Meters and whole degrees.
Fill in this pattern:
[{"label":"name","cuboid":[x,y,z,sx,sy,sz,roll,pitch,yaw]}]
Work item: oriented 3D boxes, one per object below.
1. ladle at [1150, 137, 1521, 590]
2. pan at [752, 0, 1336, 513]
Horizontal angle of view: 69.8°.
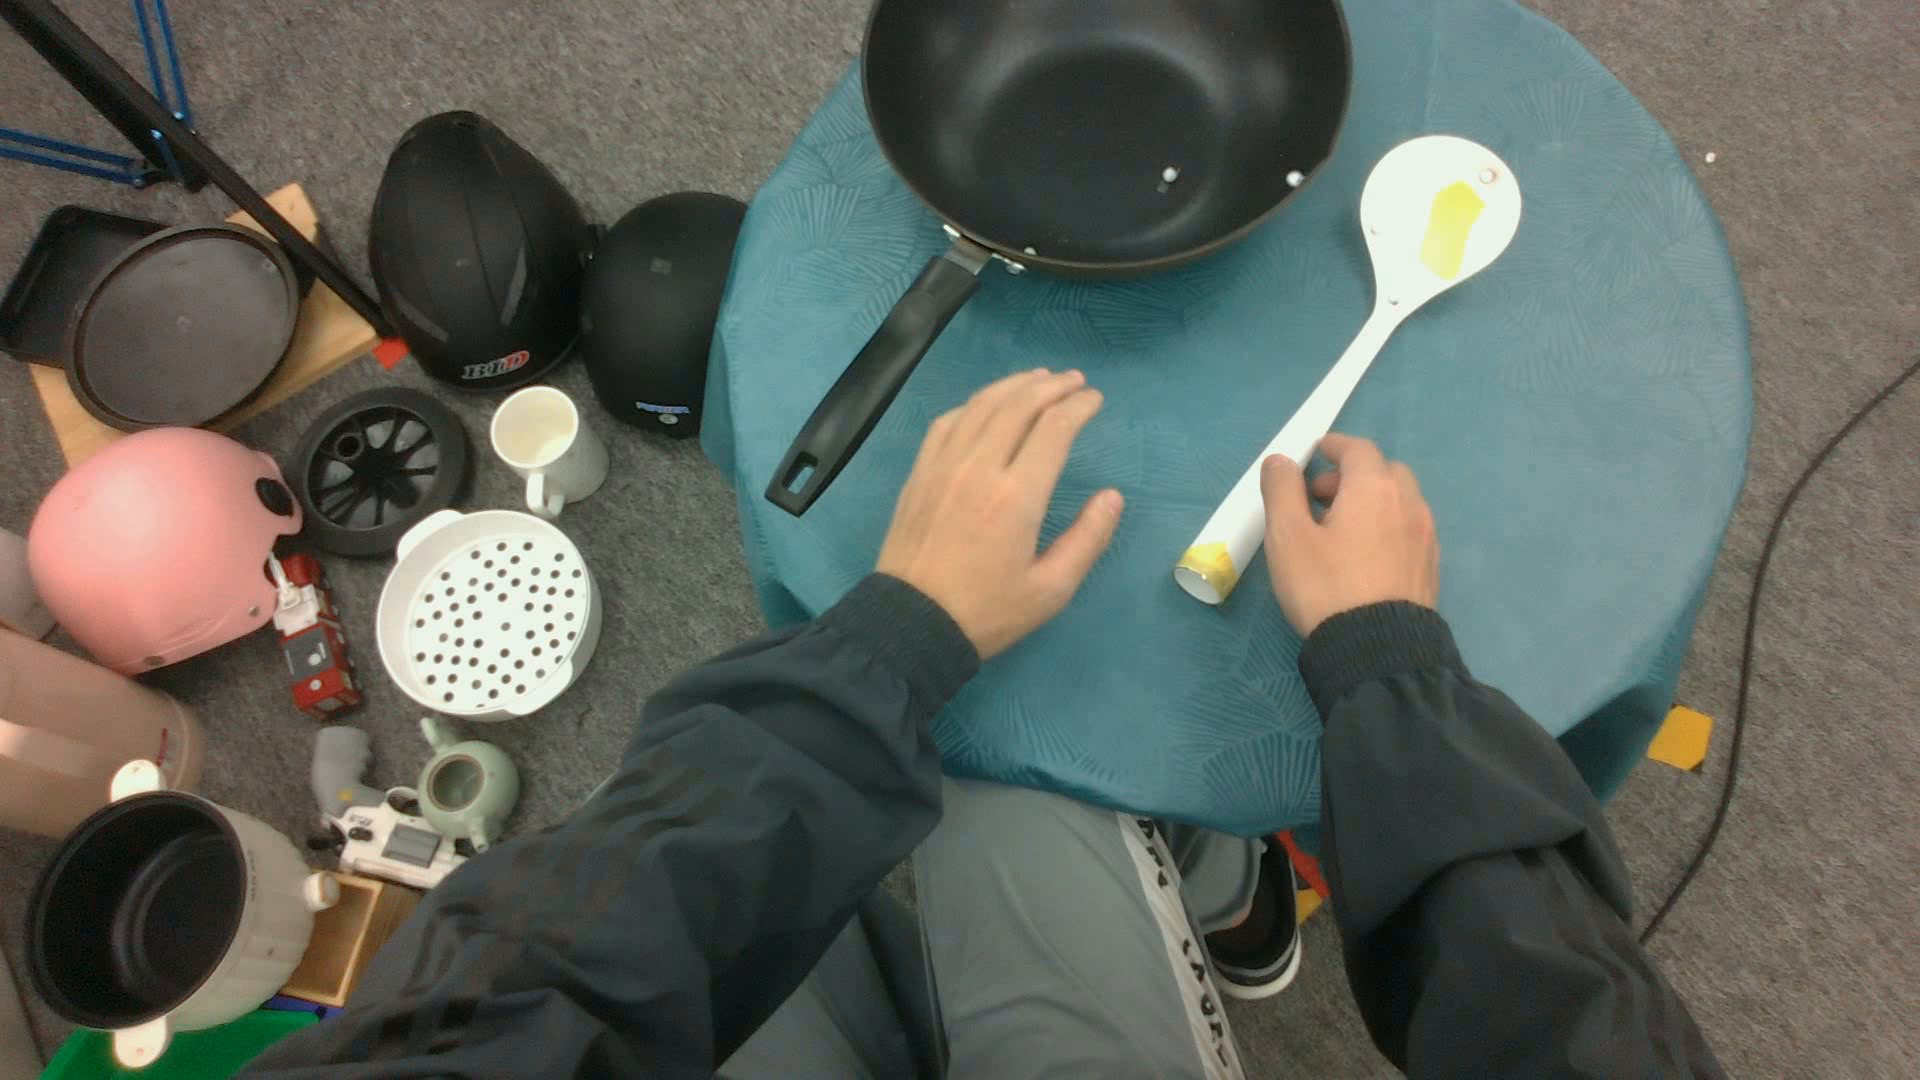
[{"label":"ladle","cuboid":[0.207,-0.098,0.783,0.090,0.070,0.293,36,79,17]},{"label":"pan","cuboid":[0.031,-0.192,0.820,0.288,0.086,0.464,29,75,14]}]
